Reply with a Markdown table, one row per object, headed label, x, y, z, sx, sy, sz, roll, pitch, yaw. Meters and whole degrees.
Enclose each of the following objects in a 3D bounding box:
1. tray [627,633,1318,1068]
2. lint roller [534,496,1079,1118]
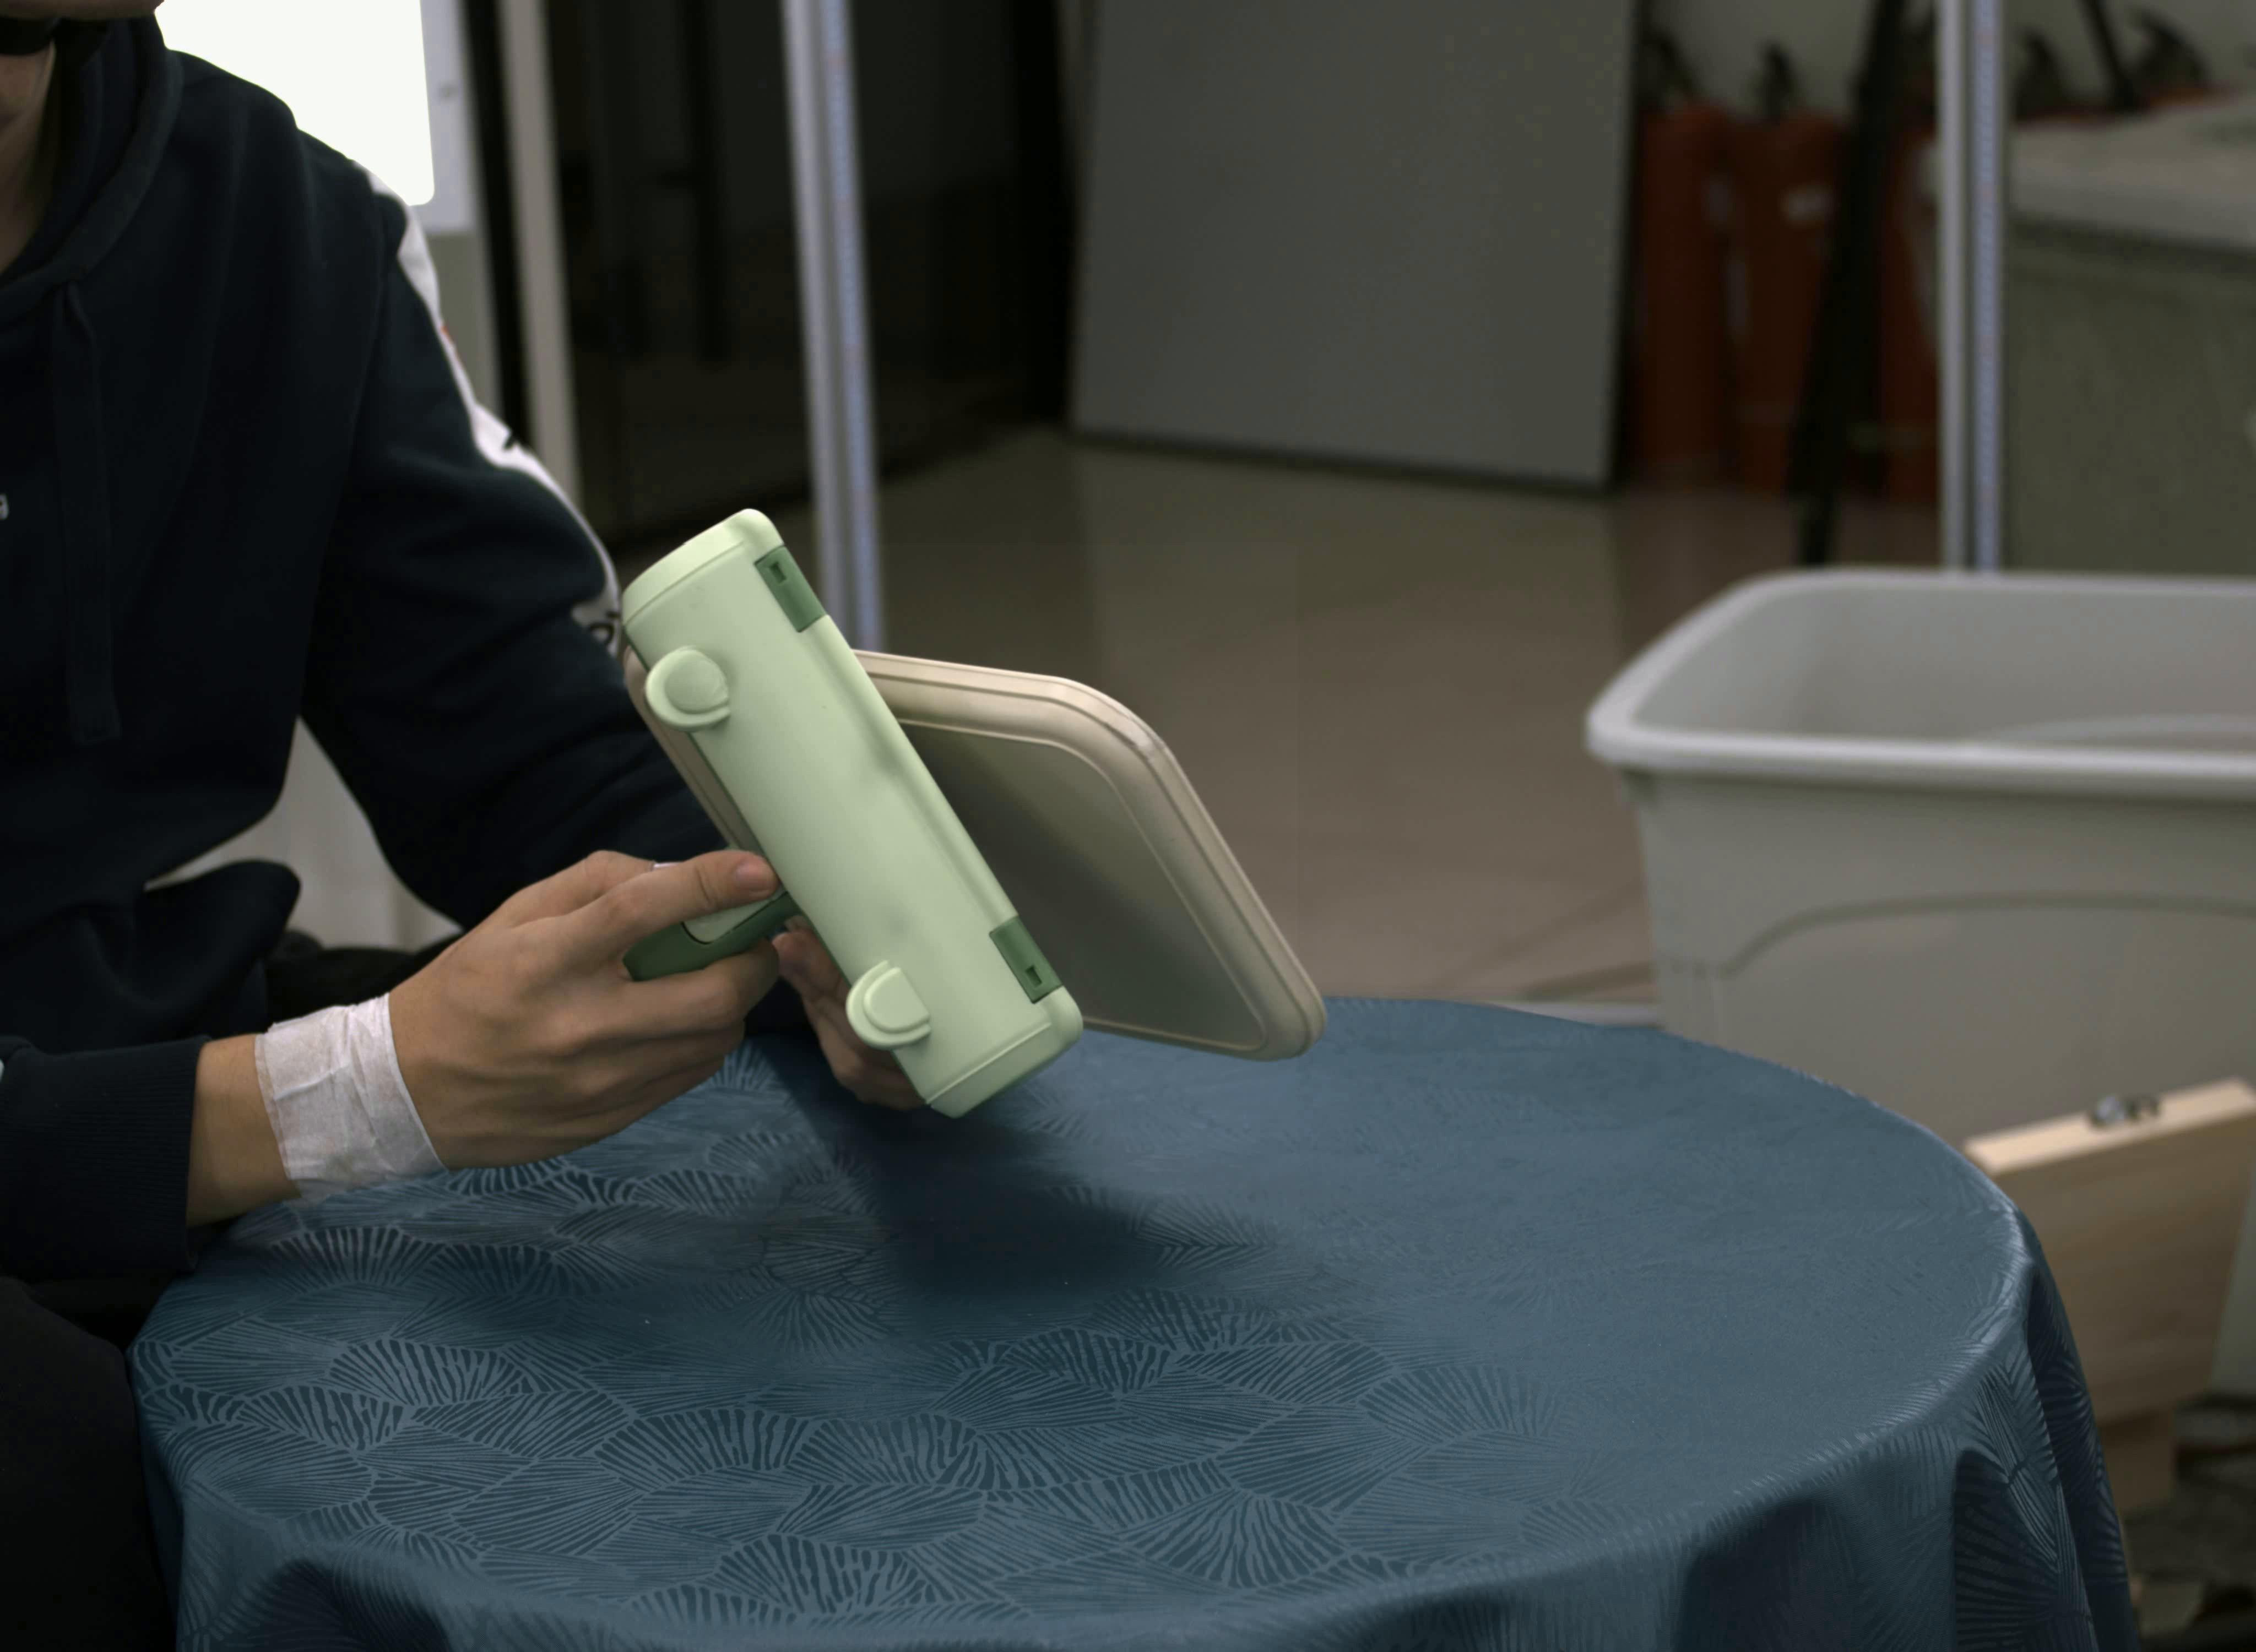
| label | x | y | z | sx | sy | sz | roll | pitch | yaw |
| --- | --- | --- | --- | --- | --- | --- | --- | --- | --- |
| tray | -0.055 | 0.006 | 1.733 | 0.242 | 0.170 | 0.017 | 9 | 49 | 44 |
| lint roller | -0.131 | 0.025 | 1.681 | 0.184 | 0.200 | 0.081 | -35 | -4 | 25 |
